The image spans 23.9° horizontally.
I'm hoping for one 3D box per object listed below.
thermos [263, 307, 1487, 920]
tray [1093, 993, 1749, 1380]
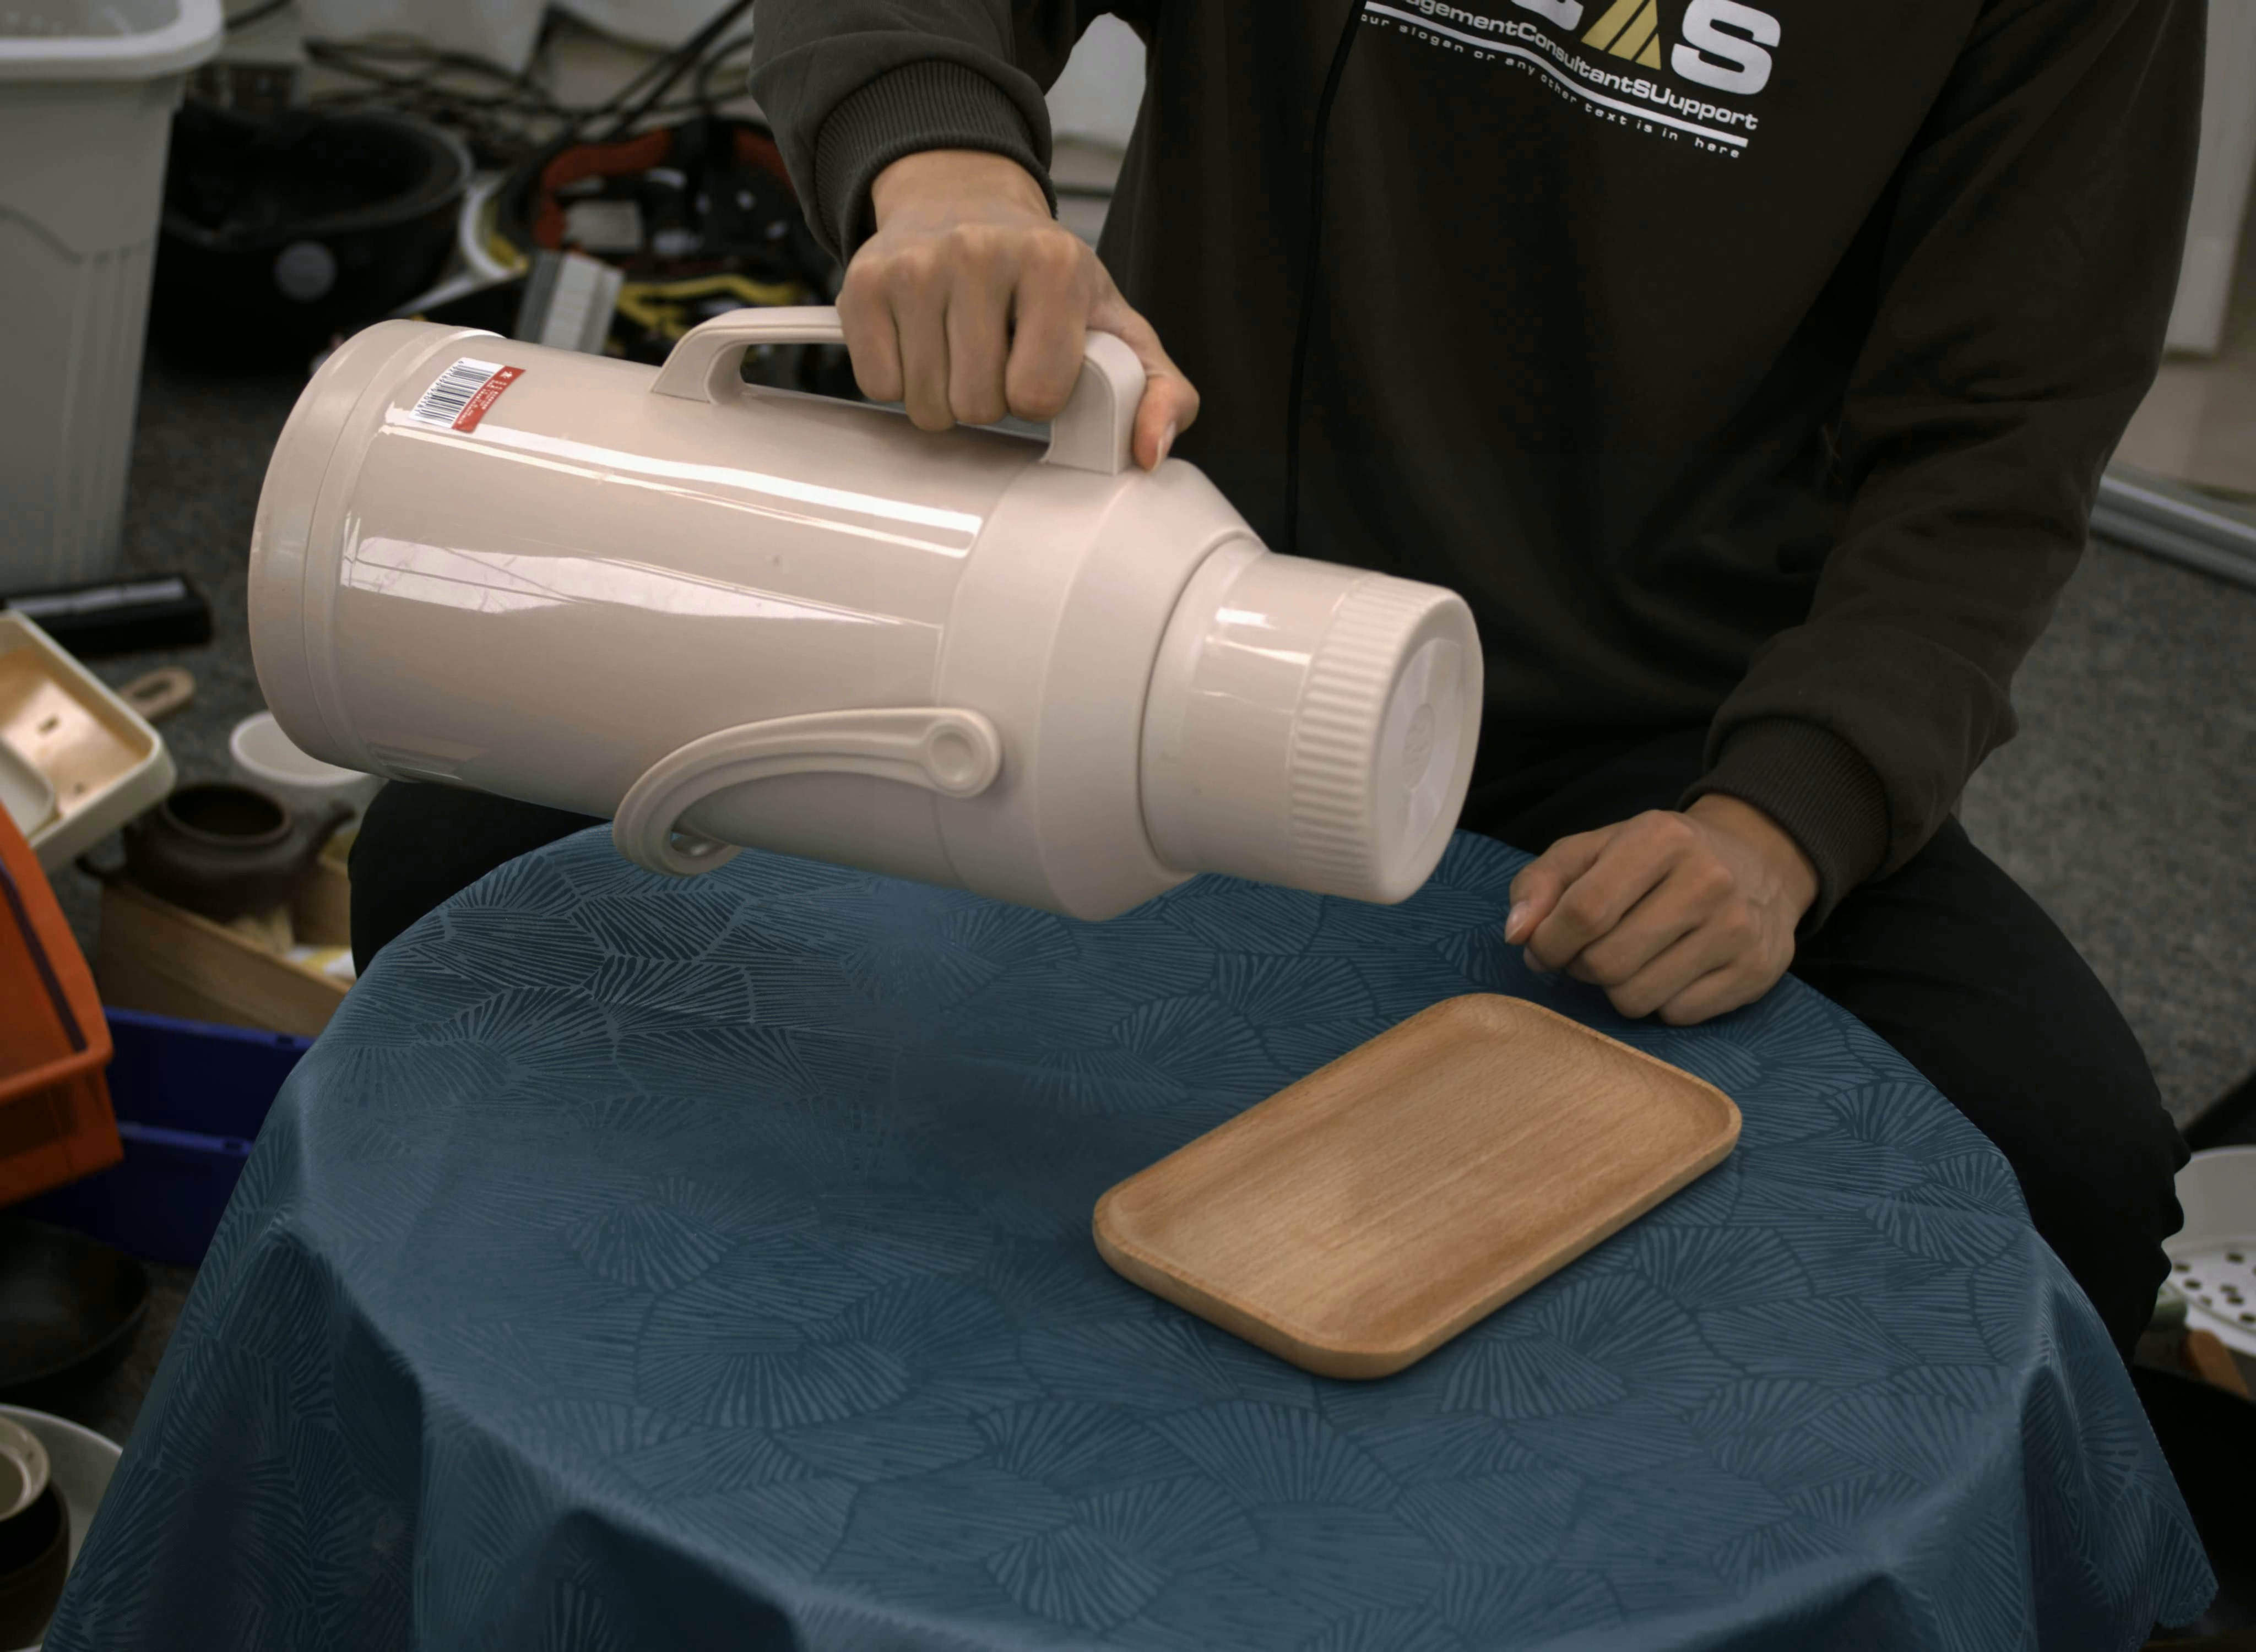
[{"bbox_3d":[-0.083,-0.077,1.792,0.408,0.206,0.175,12,23,24],"label":"thermos"},{"bbox_3d":[0.102,0.121,1.819,0.131,0.023,0.249,27,32,30],"label":"tray"}]
